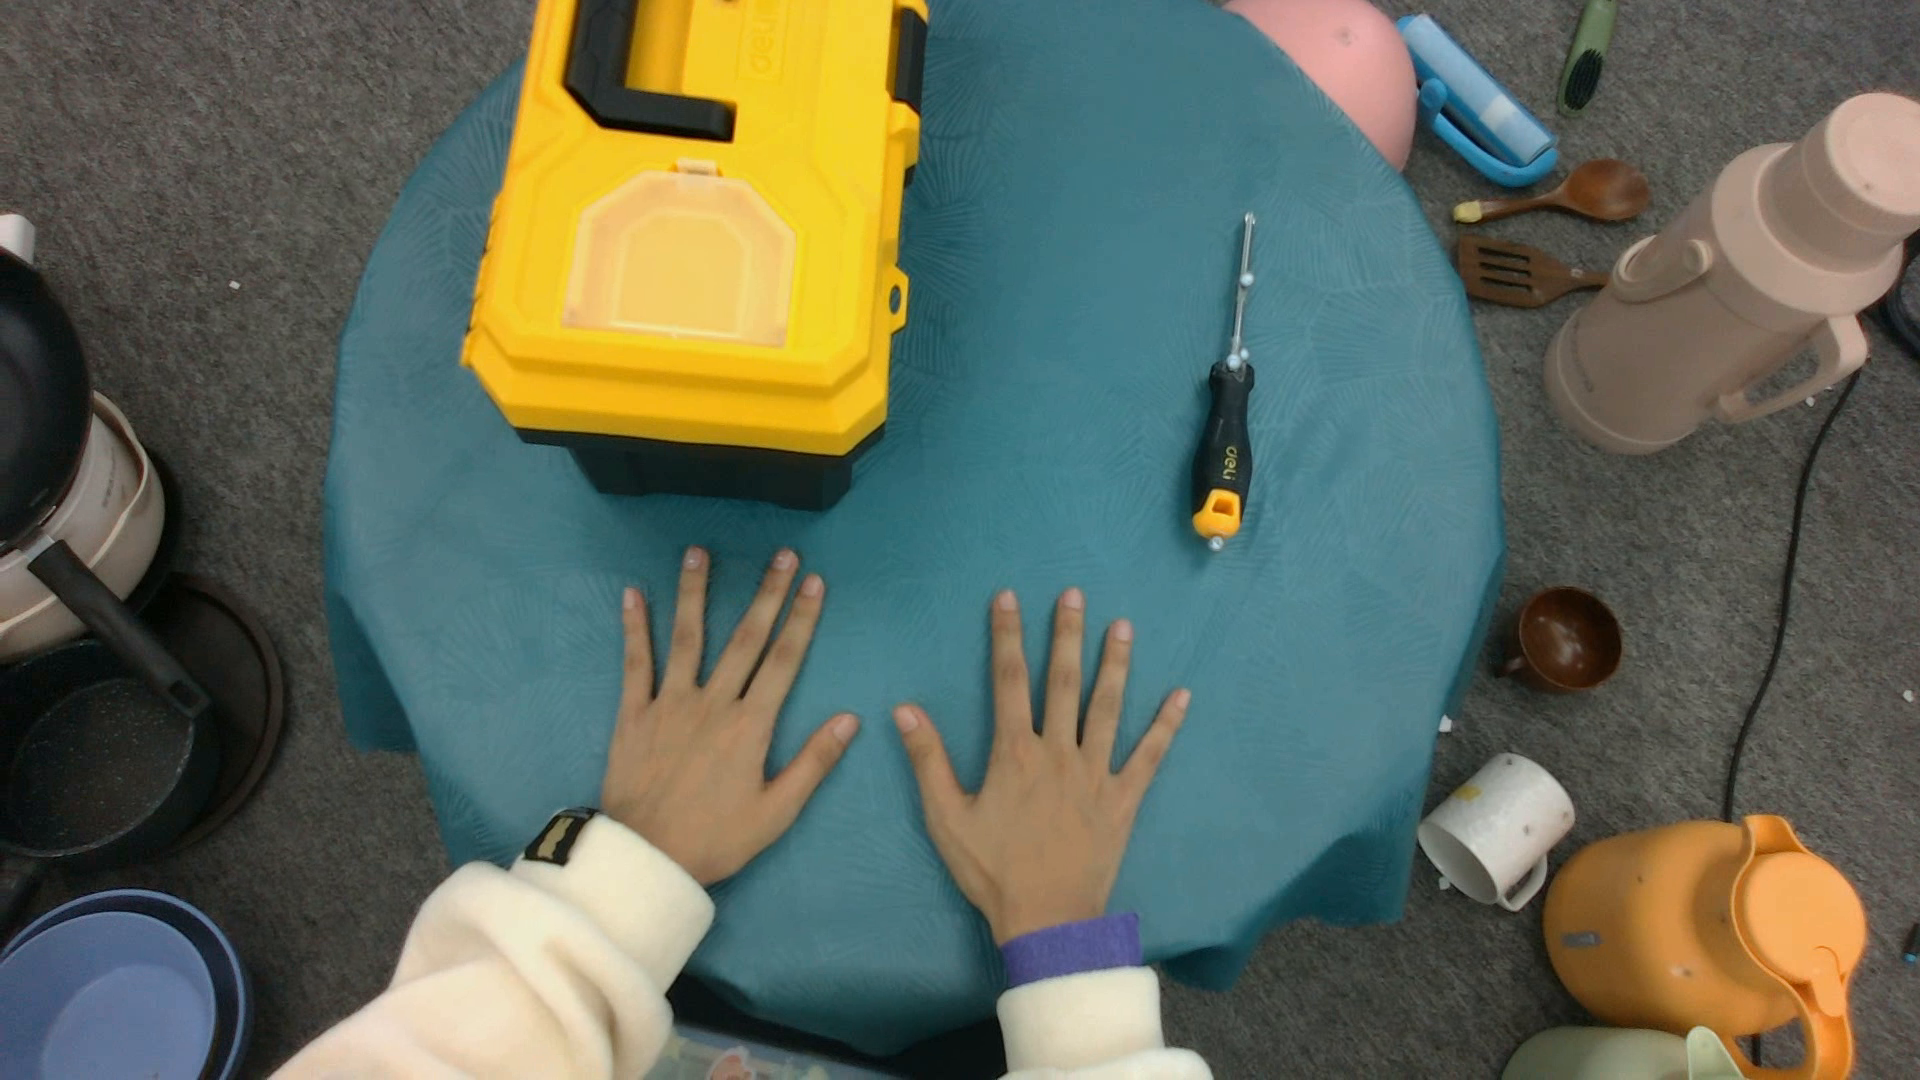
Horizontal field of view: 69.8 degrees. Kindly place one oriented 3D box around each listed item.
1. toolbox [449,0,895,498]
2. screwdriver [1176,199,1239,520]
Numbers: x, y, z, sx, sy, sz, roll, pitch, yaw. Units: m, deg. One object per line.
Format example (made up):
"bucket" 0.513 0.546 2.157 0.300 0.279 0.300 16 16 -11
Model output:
"toolbox" -0.116 -0.199 0.652 0.181 0.172 0.352 5 71 -4
"screwdriver" 0.137 -0.102 0.720 0.031 0.031 0.197 12 69 -1
